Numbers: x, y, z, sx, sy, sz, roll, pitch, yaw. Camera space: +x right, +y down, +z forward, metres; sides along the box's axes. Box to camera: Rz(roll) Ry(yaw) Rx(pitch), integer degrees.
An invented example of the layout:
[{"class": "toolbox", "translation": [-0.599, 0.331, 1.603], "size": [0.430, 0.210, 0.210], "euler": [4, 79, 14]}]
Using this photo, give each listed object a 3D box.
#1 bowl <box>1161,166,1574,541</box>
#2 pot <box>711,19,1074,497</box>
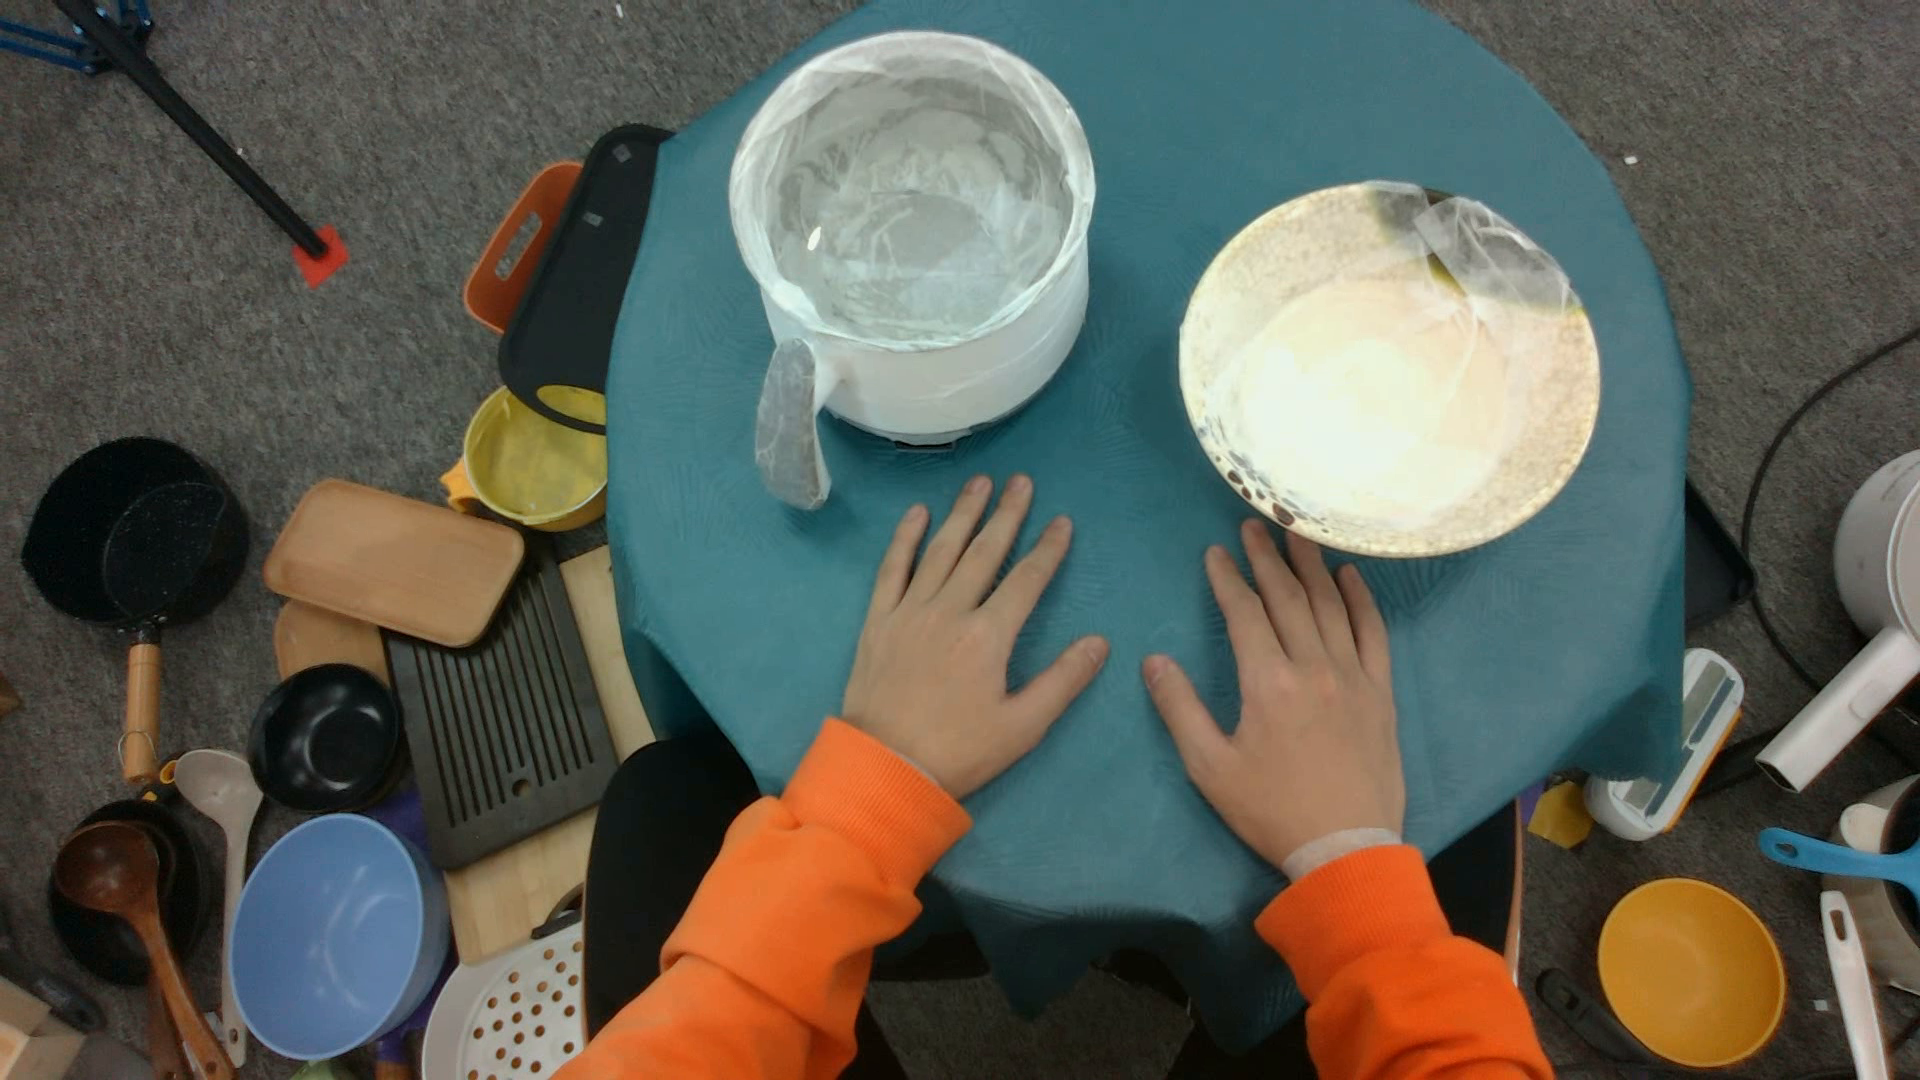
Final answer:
[{"class": "bowl", "translation": [0.205, -0.088, 0.723], "size": [0.204, 0.078, 0.204], "euler": [-1, 74, 2]}, {"class": "pot", "translation": [-0.043, -0.135, 0.717], "size": [0.178, 0.136, 0.234], "euler": [27, 75, 12]}]
